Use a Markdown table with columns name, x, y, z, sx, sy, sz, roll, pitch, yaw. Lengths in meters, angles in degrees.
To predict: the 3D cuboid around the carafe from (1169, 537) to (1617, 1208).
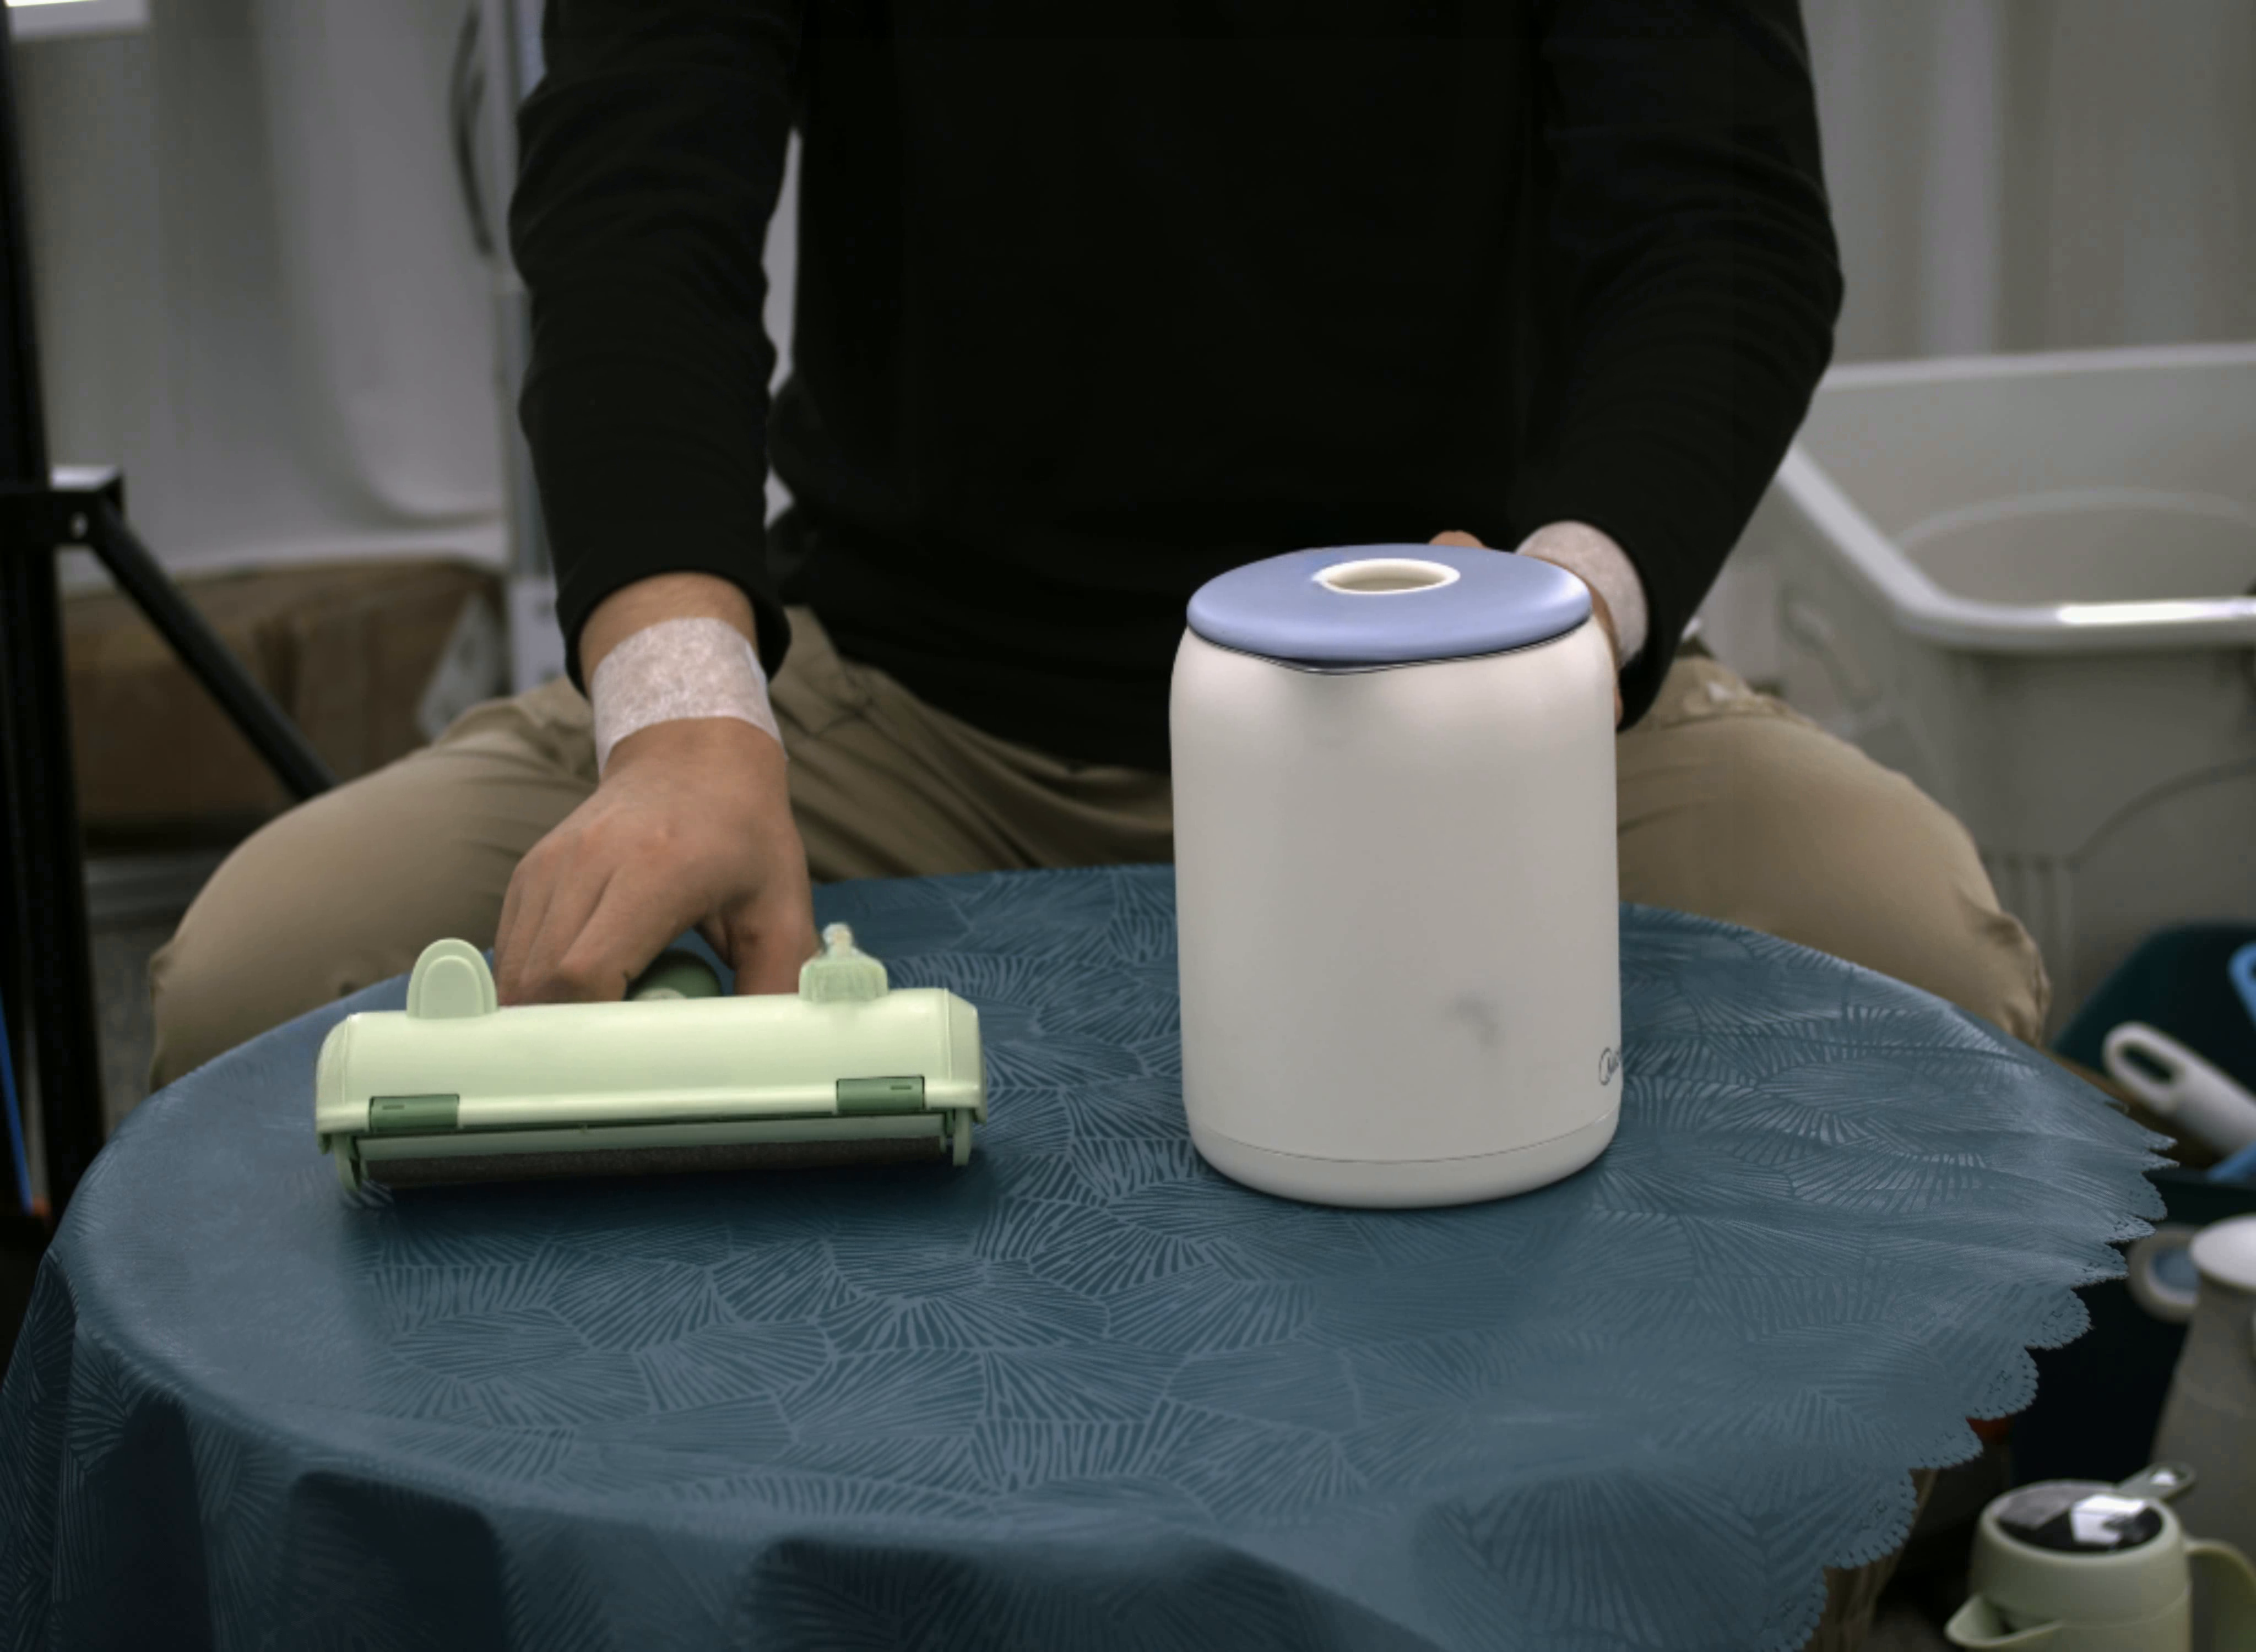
| name | x | y | z | sx | sy | sz | roll | pitch | yaw |
| --- | --- | --- | --- | --- | --- | --- | --- | --- | --- |
| carafe | 0.085 | 0.007 | 1.586 | 0.133 | 0.182 | 0.189 | 3 | 14 | 16 |

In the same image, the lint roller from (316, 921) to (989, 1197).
| name | x | y | z | sx | sy | sz | roll | pitch | yaw |
| --- | --- | --- | --- | --- | --- | --- | --- | --- | --- |
| lint roller | -0.143 | 0.053 | 1.629 | 0.197 | 0.082 | 0.184 | -2 | 20 | -1 |
